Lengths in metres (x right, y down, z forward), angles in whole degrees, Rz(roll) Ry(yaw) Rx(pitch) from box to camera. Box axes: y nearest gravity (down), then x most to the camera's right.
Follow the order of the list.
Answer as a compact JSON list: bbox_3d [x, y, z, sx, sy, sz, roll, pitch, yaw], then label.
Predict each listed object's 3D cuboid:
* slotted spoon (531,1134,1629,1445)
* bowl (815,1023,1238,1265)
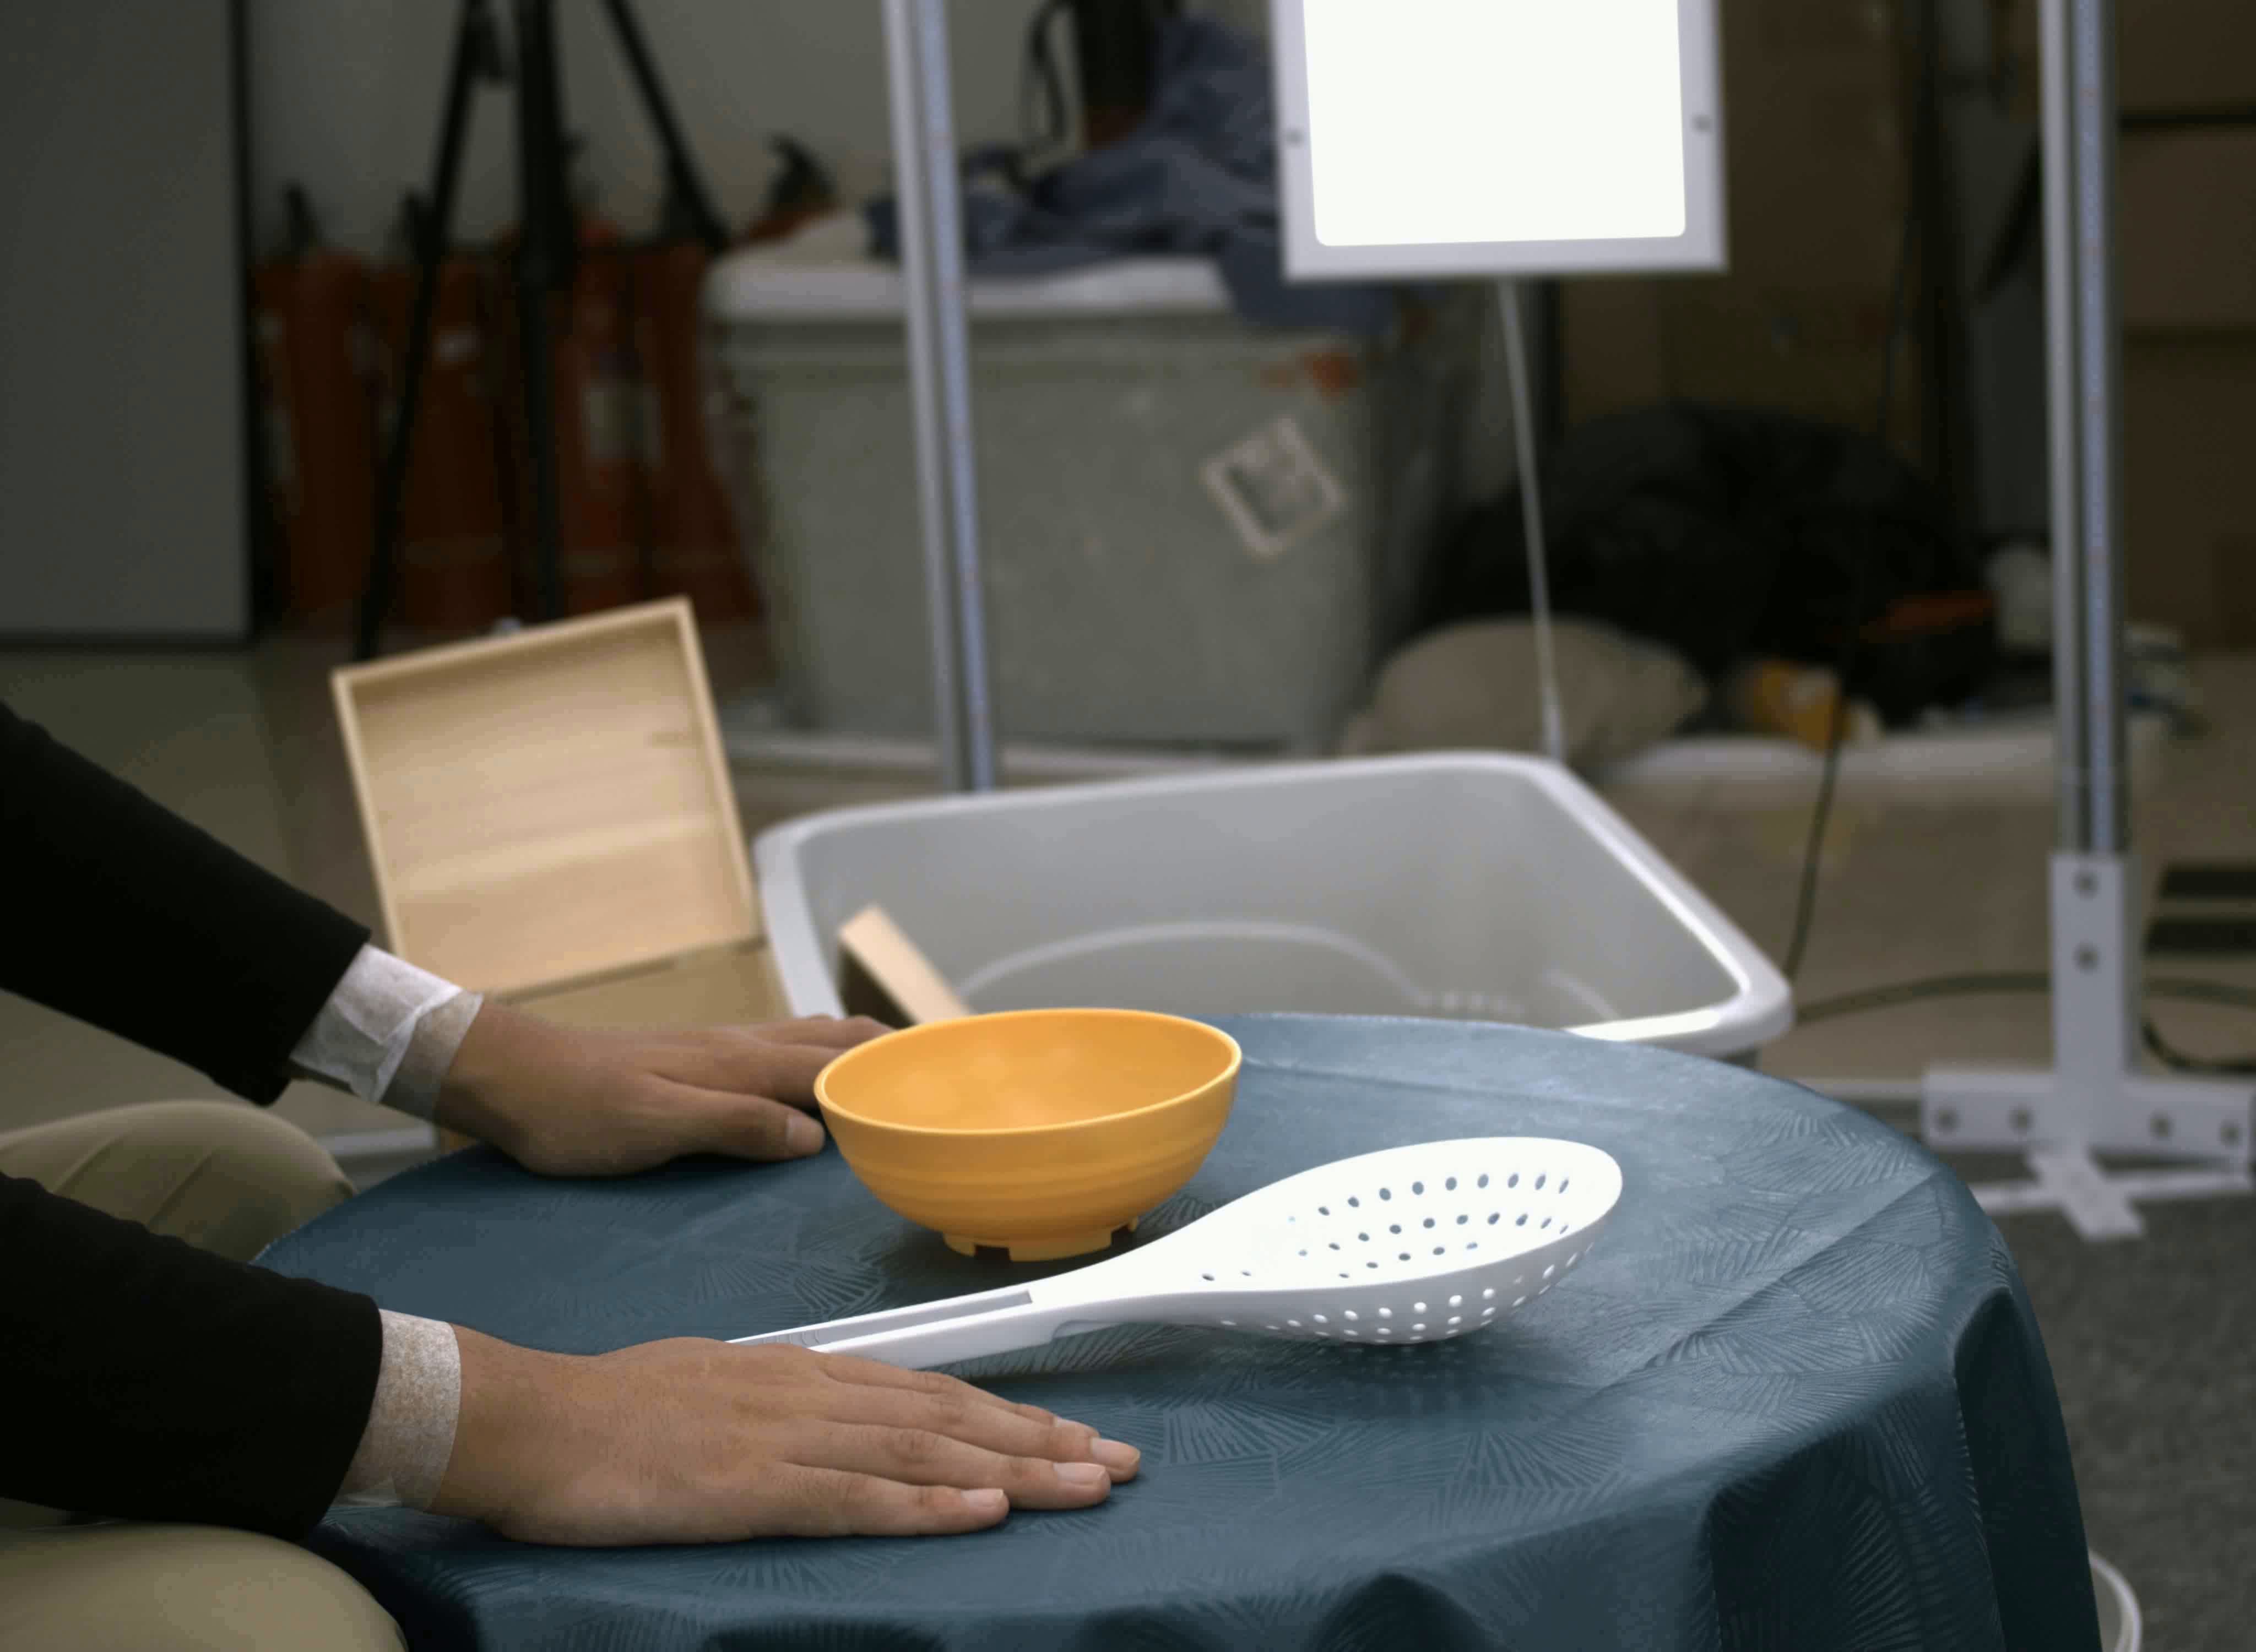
[{"bbox_3d":[-0.014,0.148,1.719,0.347,0.046,0.136,-7,13,-4],"label":"slotted spoon"},{"bbox_3d":[-0.033,0.111,1.857,0.145,0.060,0.145,-4,12,-1],"label":"bowl"}]
